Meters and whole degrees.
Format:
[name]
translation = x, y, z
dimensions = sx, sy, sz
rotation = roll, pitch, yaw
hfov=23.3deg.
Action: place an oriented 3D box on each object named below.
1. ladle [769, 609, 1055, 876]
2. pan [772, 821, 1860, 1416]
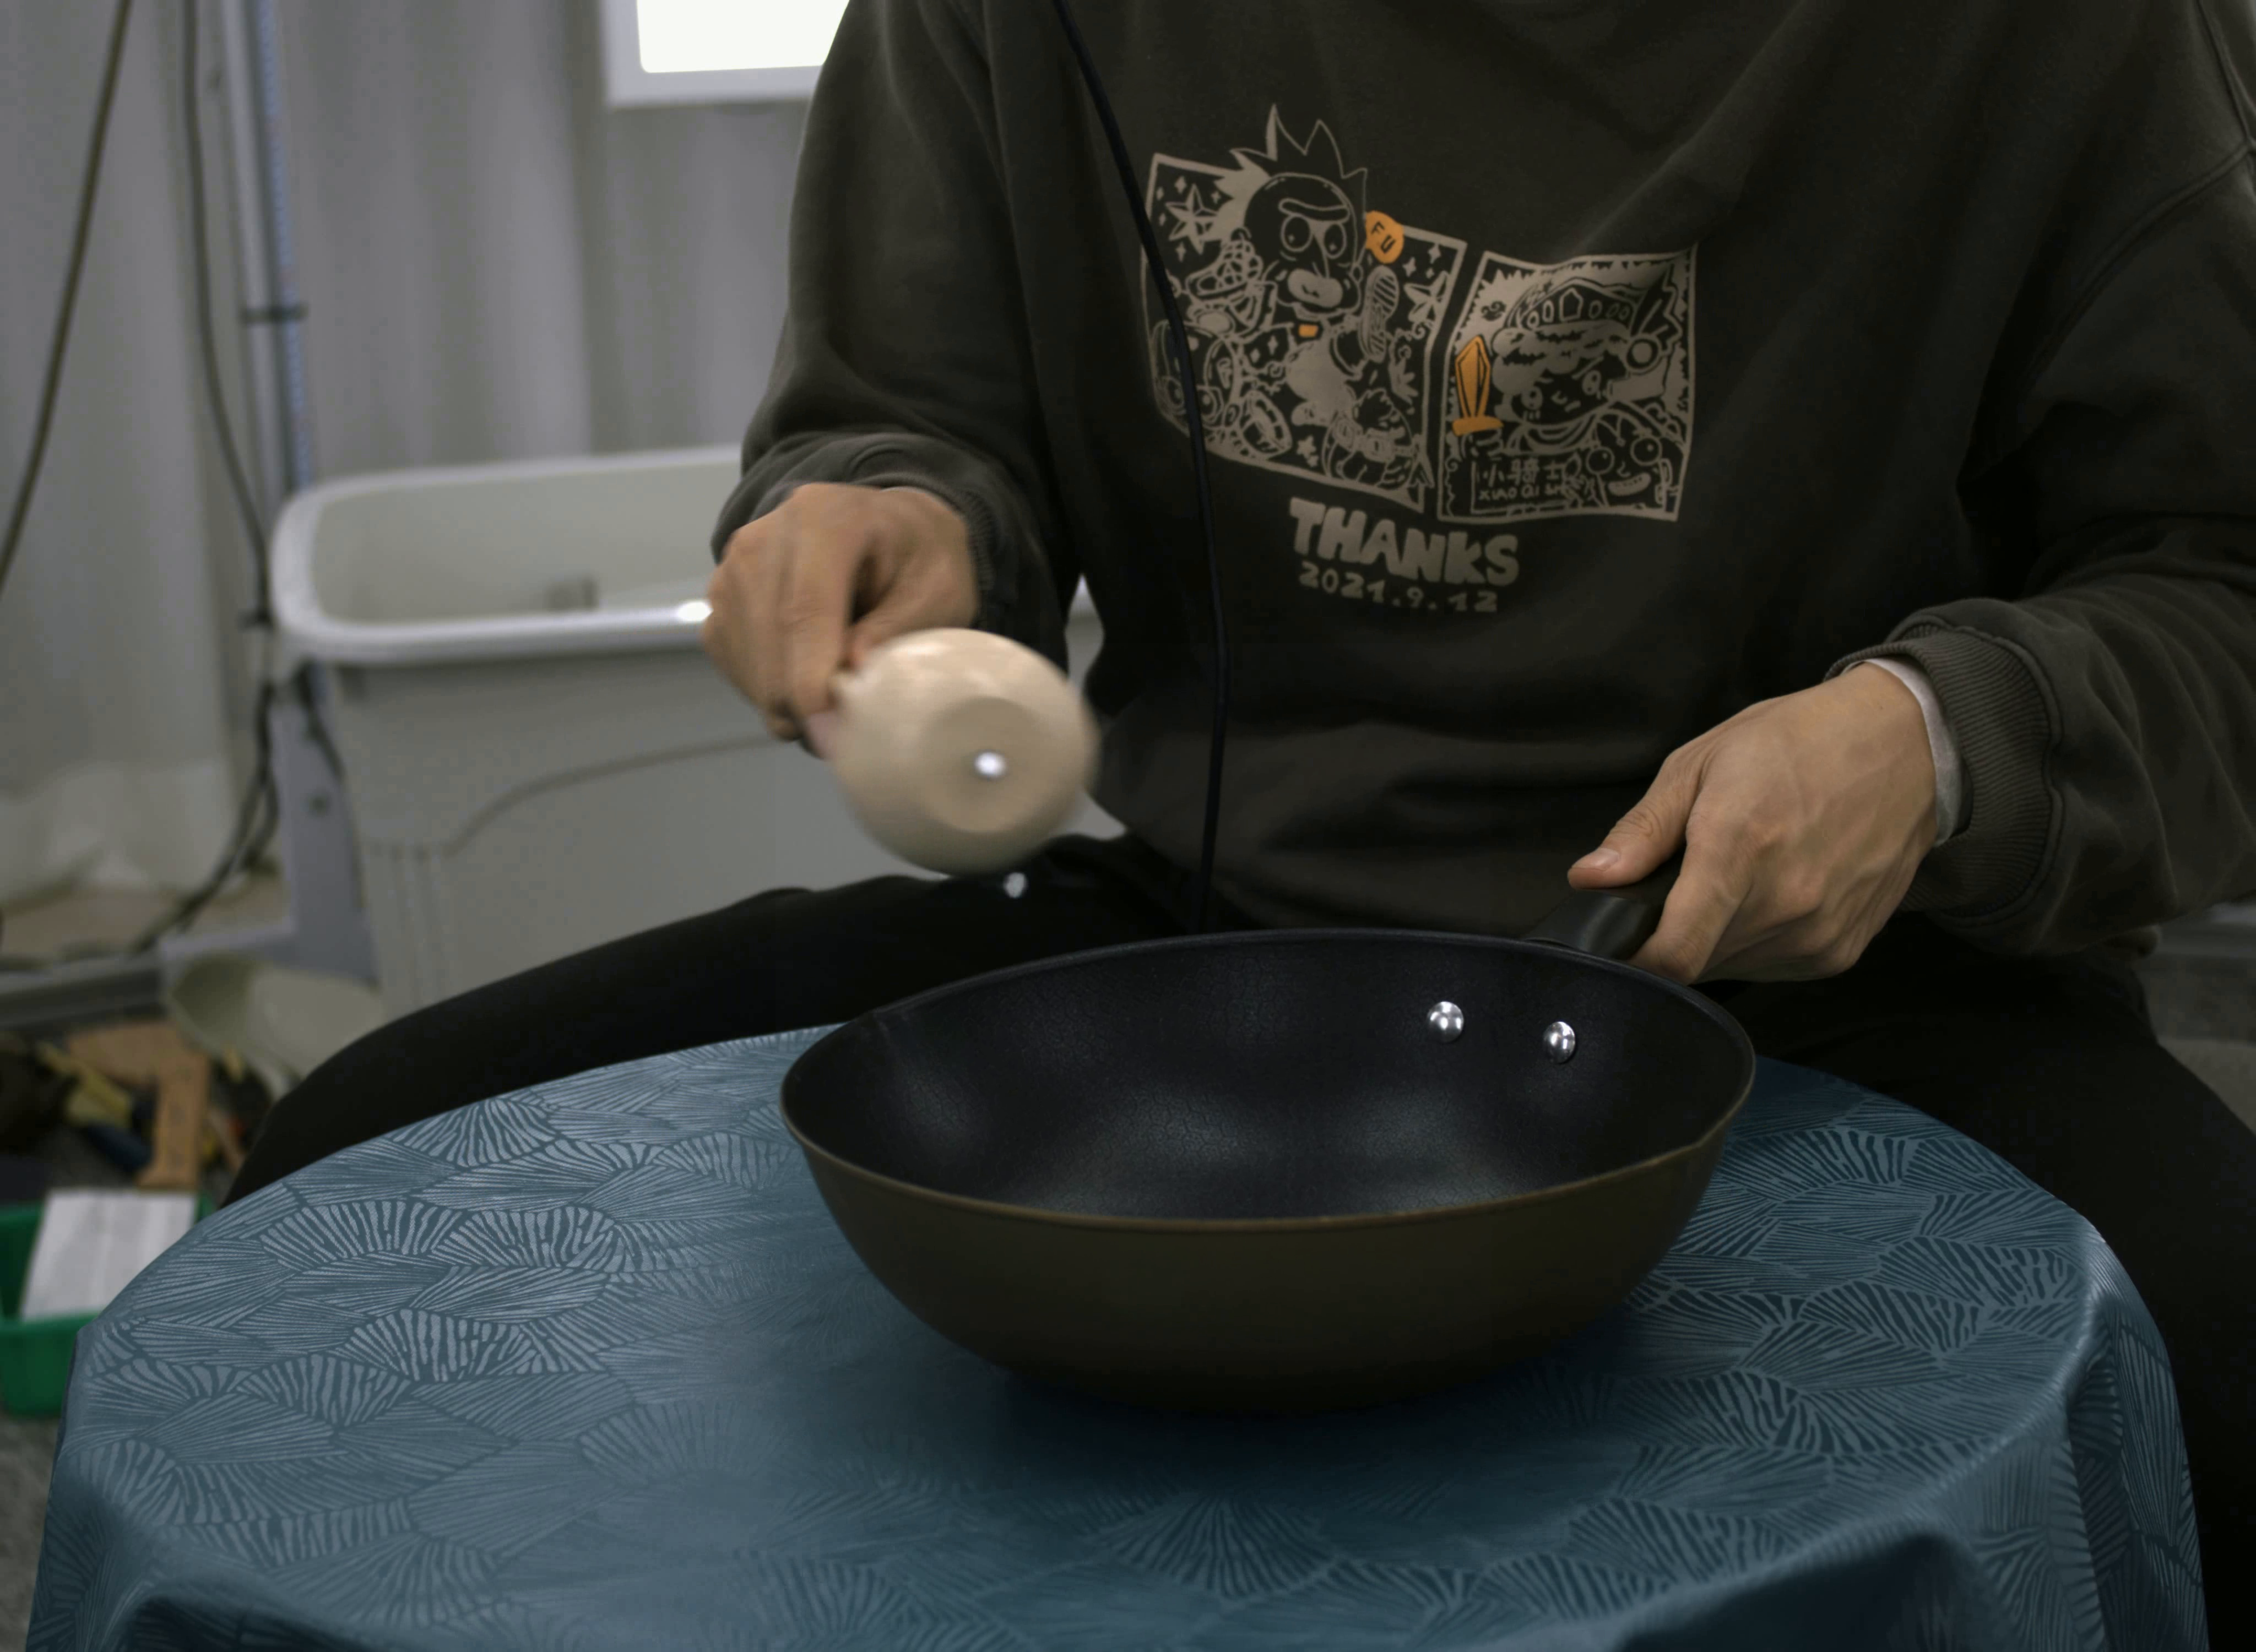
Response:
[ladle]
translation = -0.069, -0.048, 1.655
dimensions = 0.072, 0.071, 0.256
rotation = -31, 17, 3
[pan]
translation = 0.093, 0.085, 1.655
dimensions = 0.289, 0.086, 0.463
rotation = 8, 18, 35
